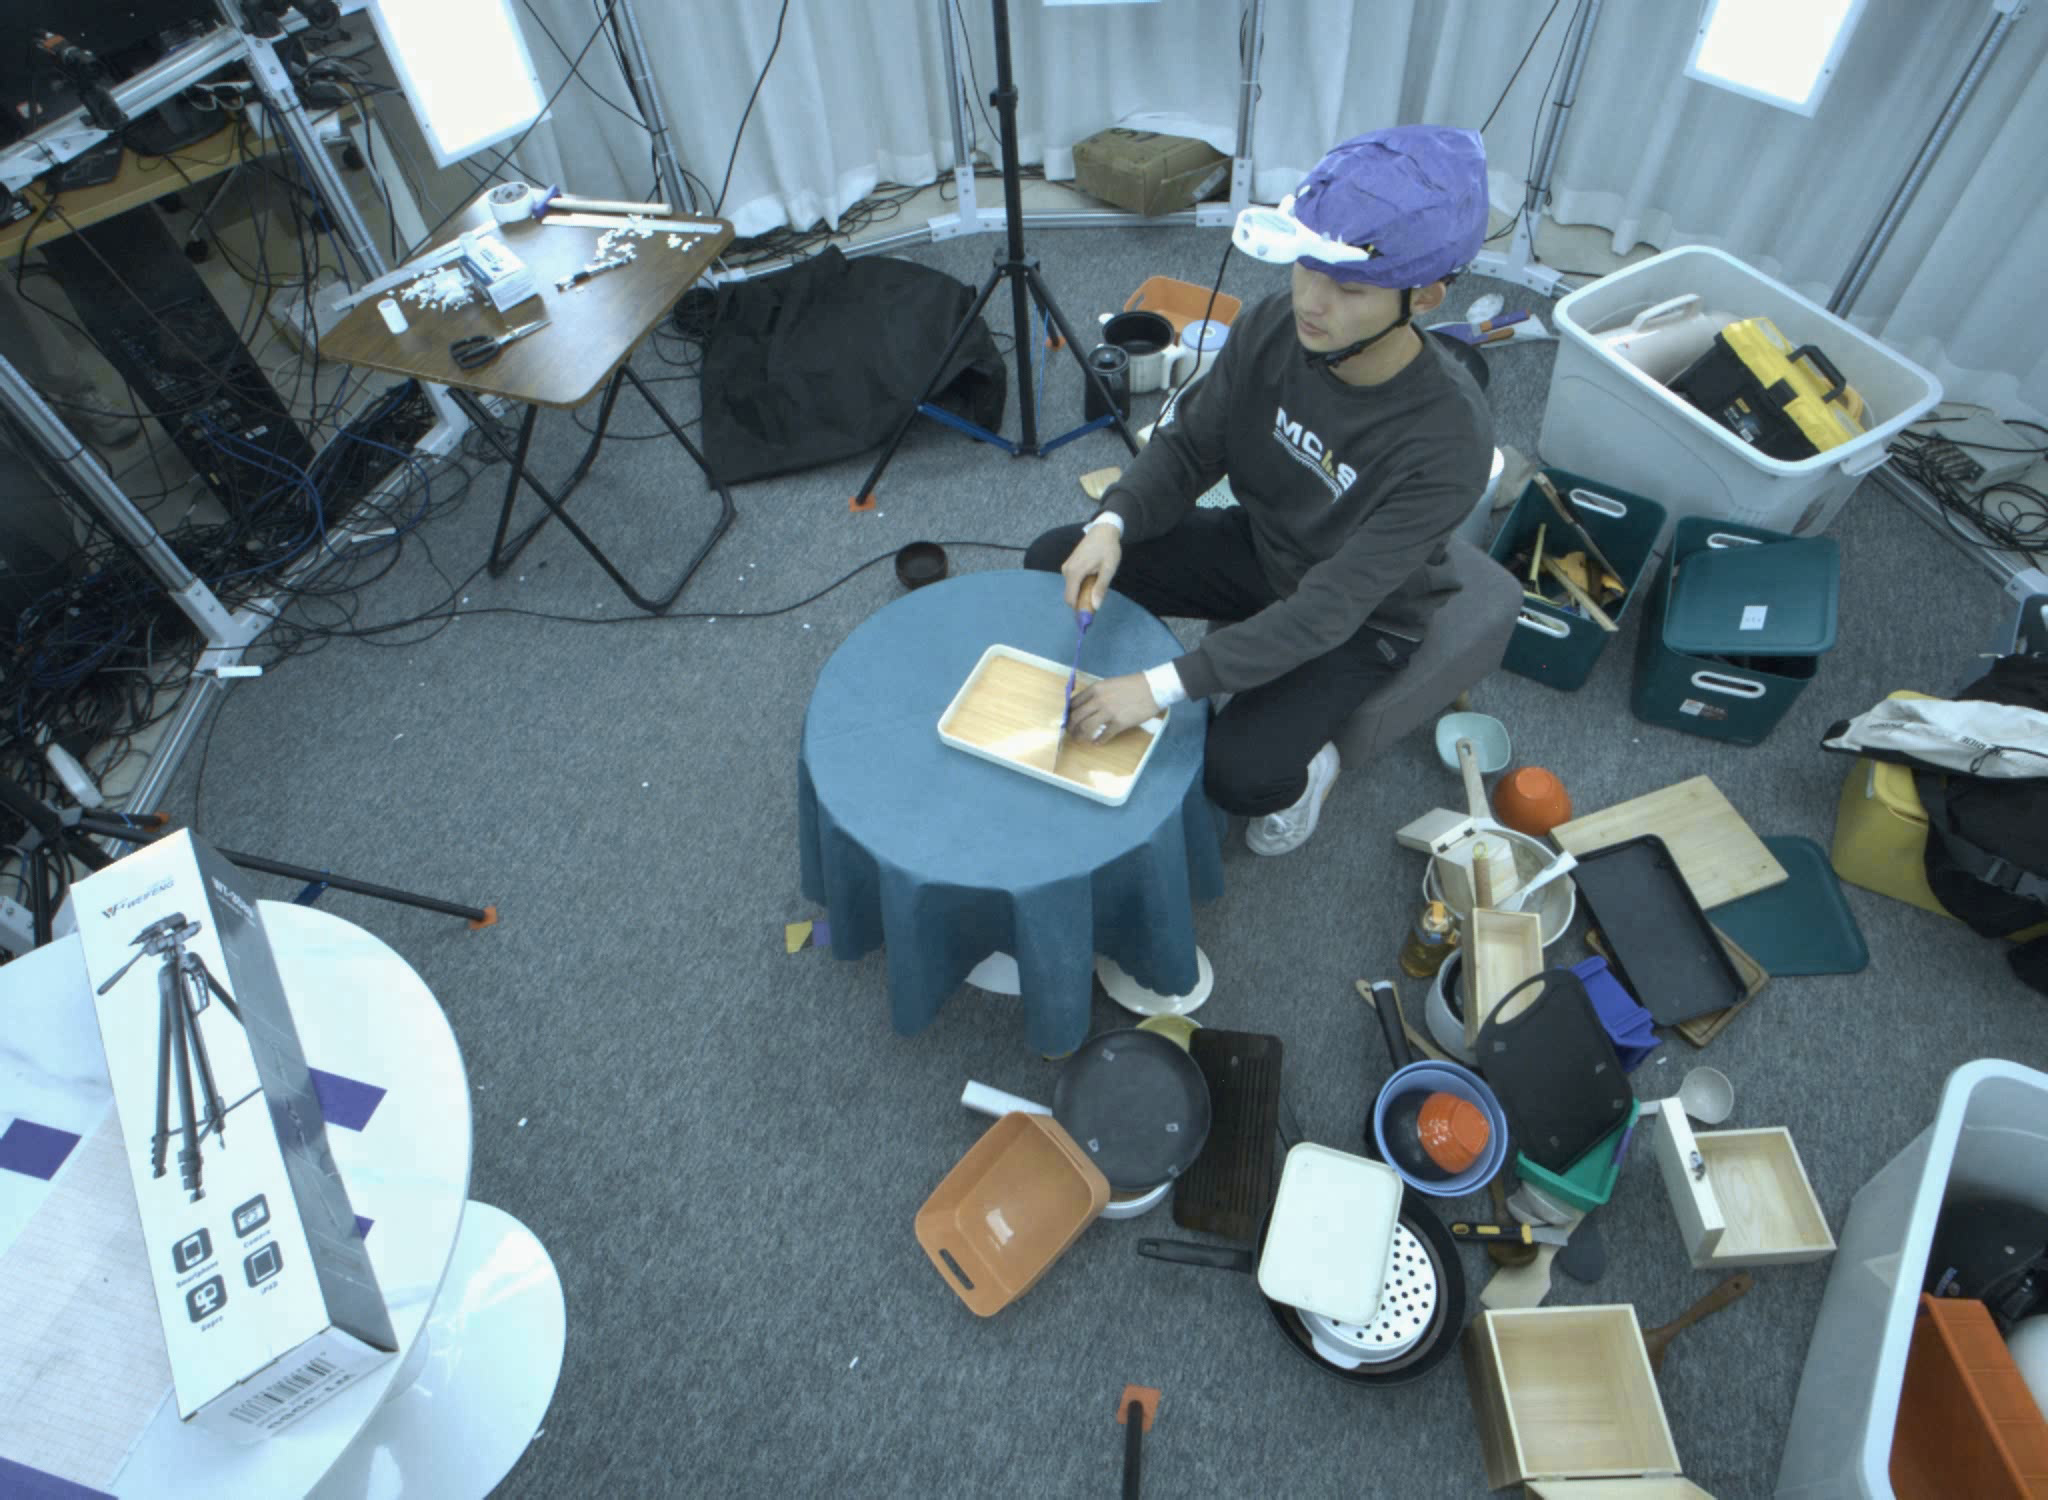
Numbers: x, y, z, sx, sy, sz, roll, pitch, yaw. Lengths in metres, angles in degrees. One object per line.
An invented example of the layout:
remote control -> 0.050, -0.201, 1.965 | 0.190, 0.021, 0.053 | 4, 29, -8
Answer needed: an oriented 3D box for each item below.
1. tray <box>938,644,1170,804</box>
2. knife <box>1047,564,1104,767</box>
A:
tray -> 0.044, -0.043, 1.808 | 0.297, 0.028, 0.192 | 21, 57, 15
knife -> 0.070, -0.125, 1.796 | 0.032, 0.104, 0.314 | 14, 61, 2
